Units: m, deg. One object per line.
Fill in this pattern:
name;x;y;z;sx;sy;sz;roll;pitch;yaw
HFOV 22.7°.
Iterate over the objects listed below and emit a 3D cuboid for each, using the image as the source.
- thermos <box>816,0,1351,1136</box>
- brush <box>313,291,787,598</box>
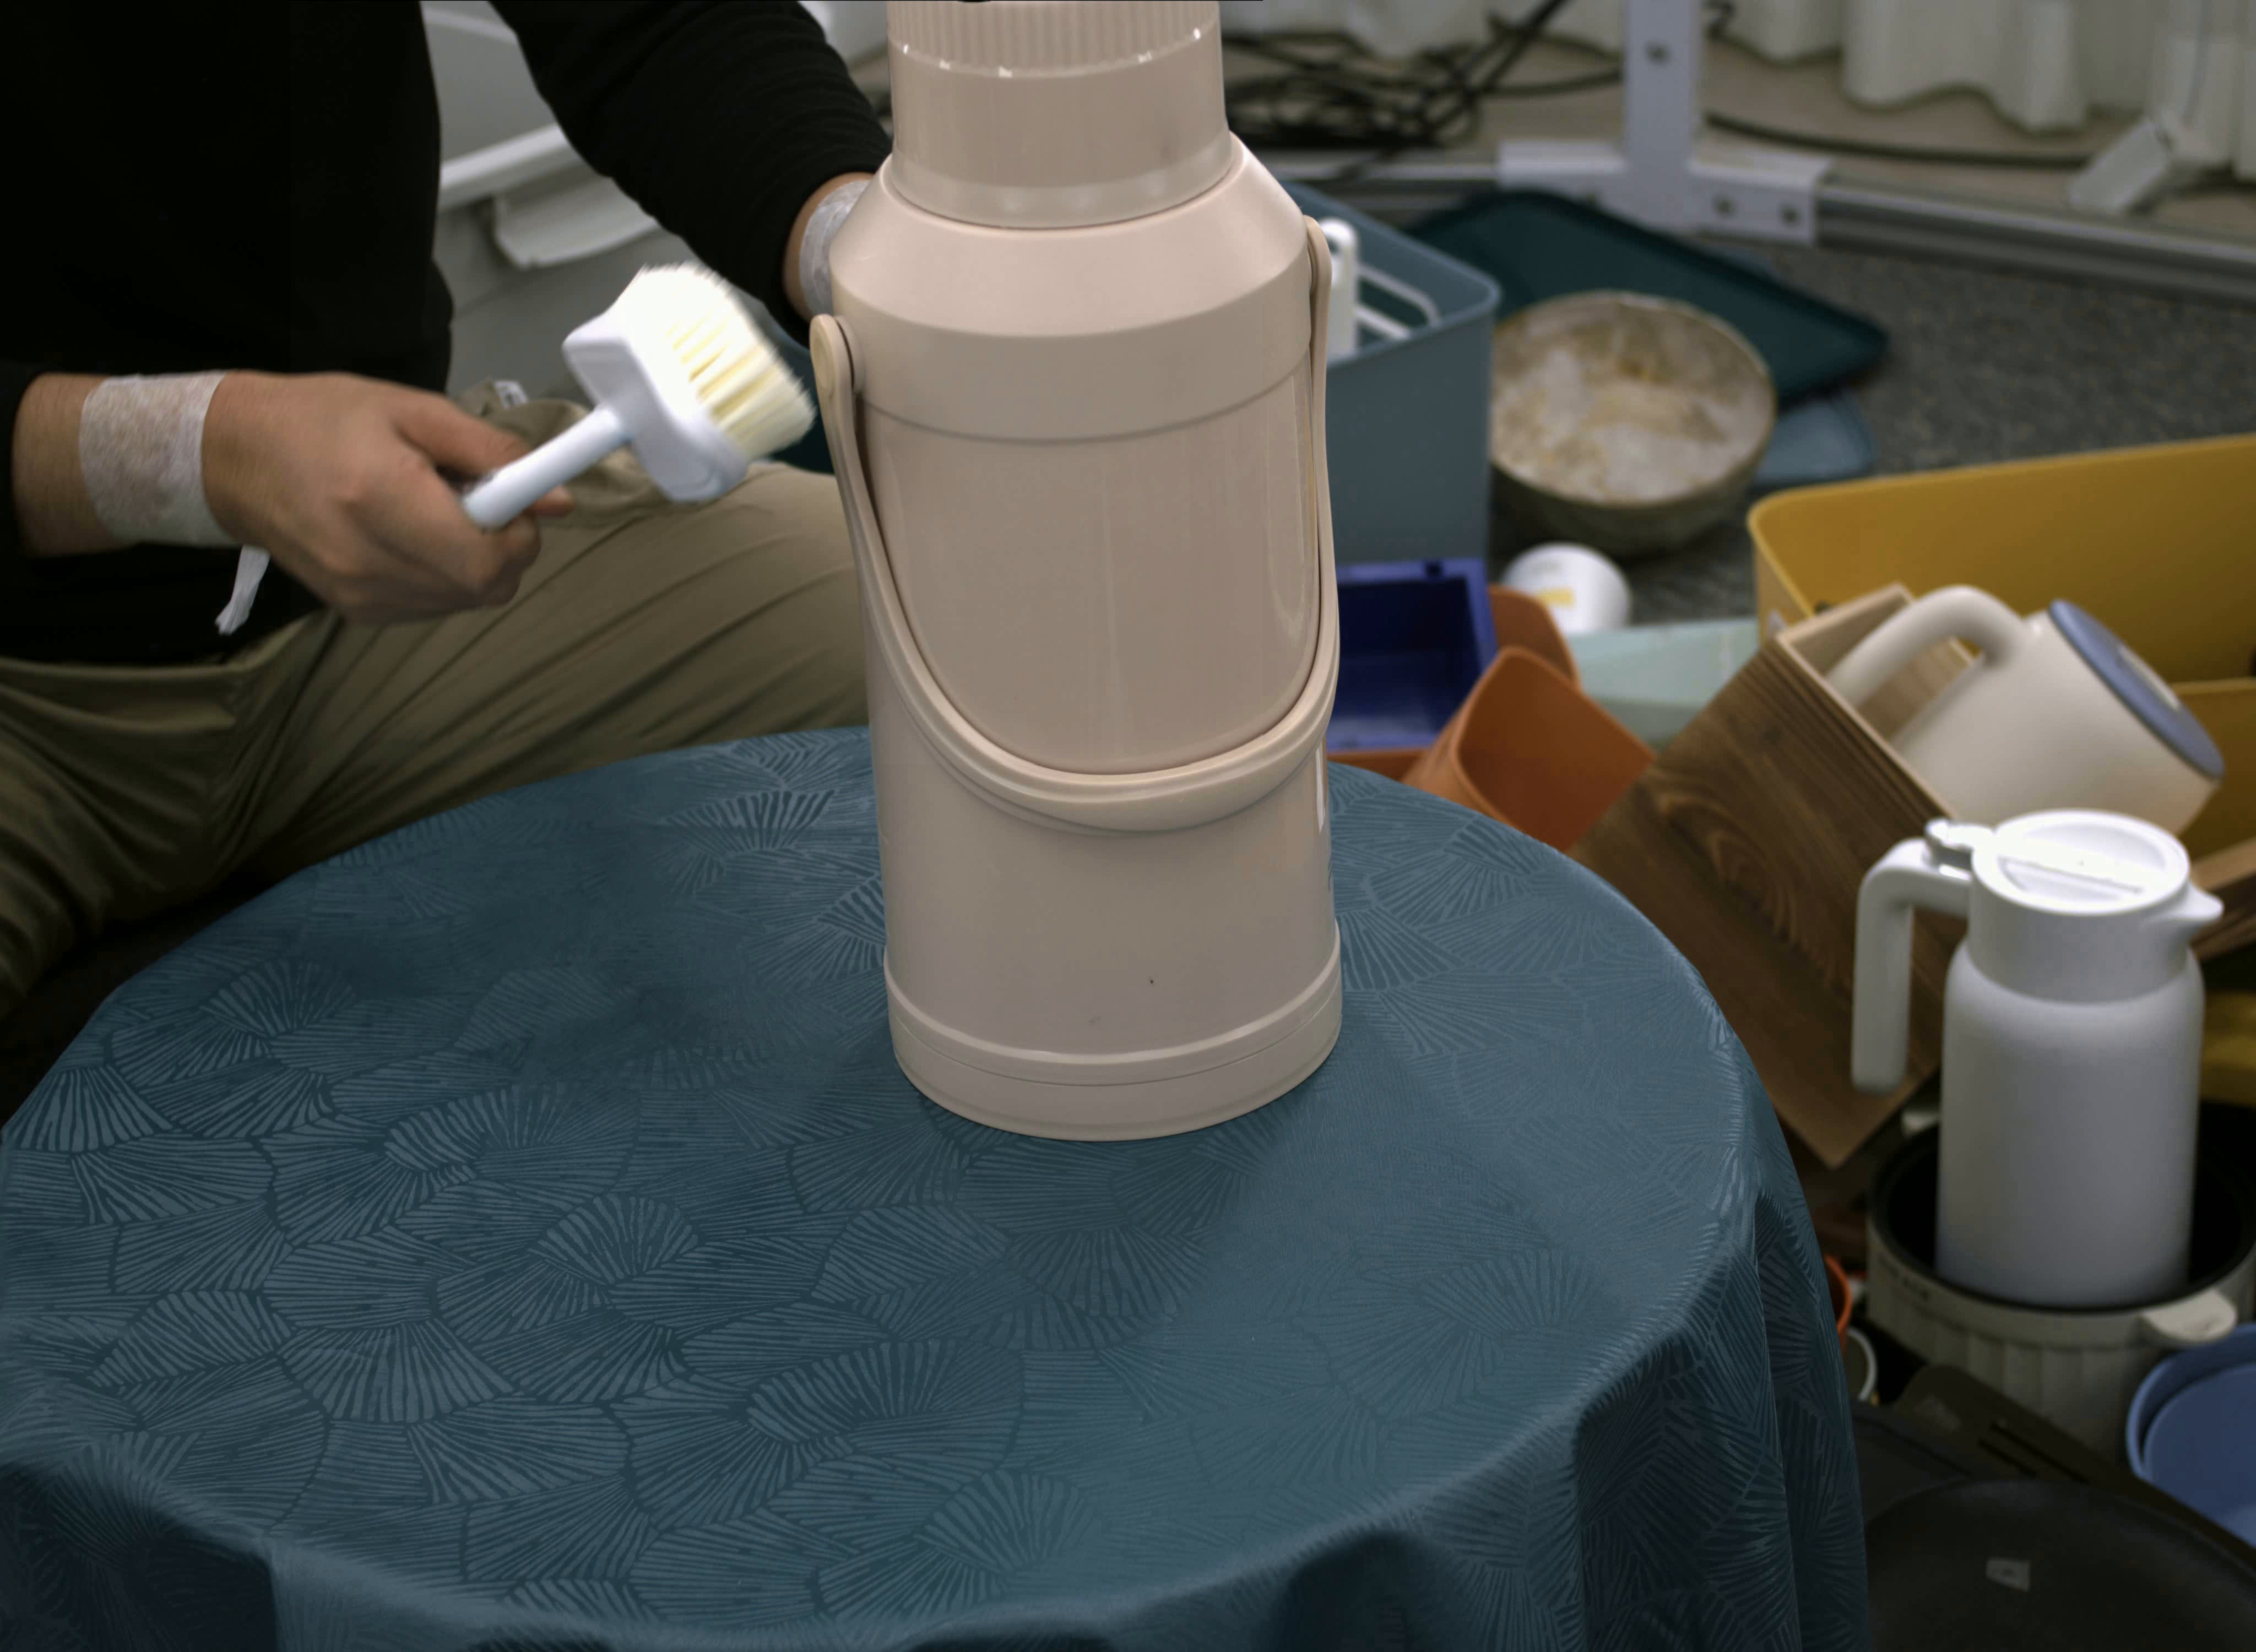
thermos;-0.016;-0.112;1.889;0.176;0.402;0.208;-15;29;-19
brush;-0.193;-0.132;1.923;0.084;0.084;0.322;1;-5;-27
